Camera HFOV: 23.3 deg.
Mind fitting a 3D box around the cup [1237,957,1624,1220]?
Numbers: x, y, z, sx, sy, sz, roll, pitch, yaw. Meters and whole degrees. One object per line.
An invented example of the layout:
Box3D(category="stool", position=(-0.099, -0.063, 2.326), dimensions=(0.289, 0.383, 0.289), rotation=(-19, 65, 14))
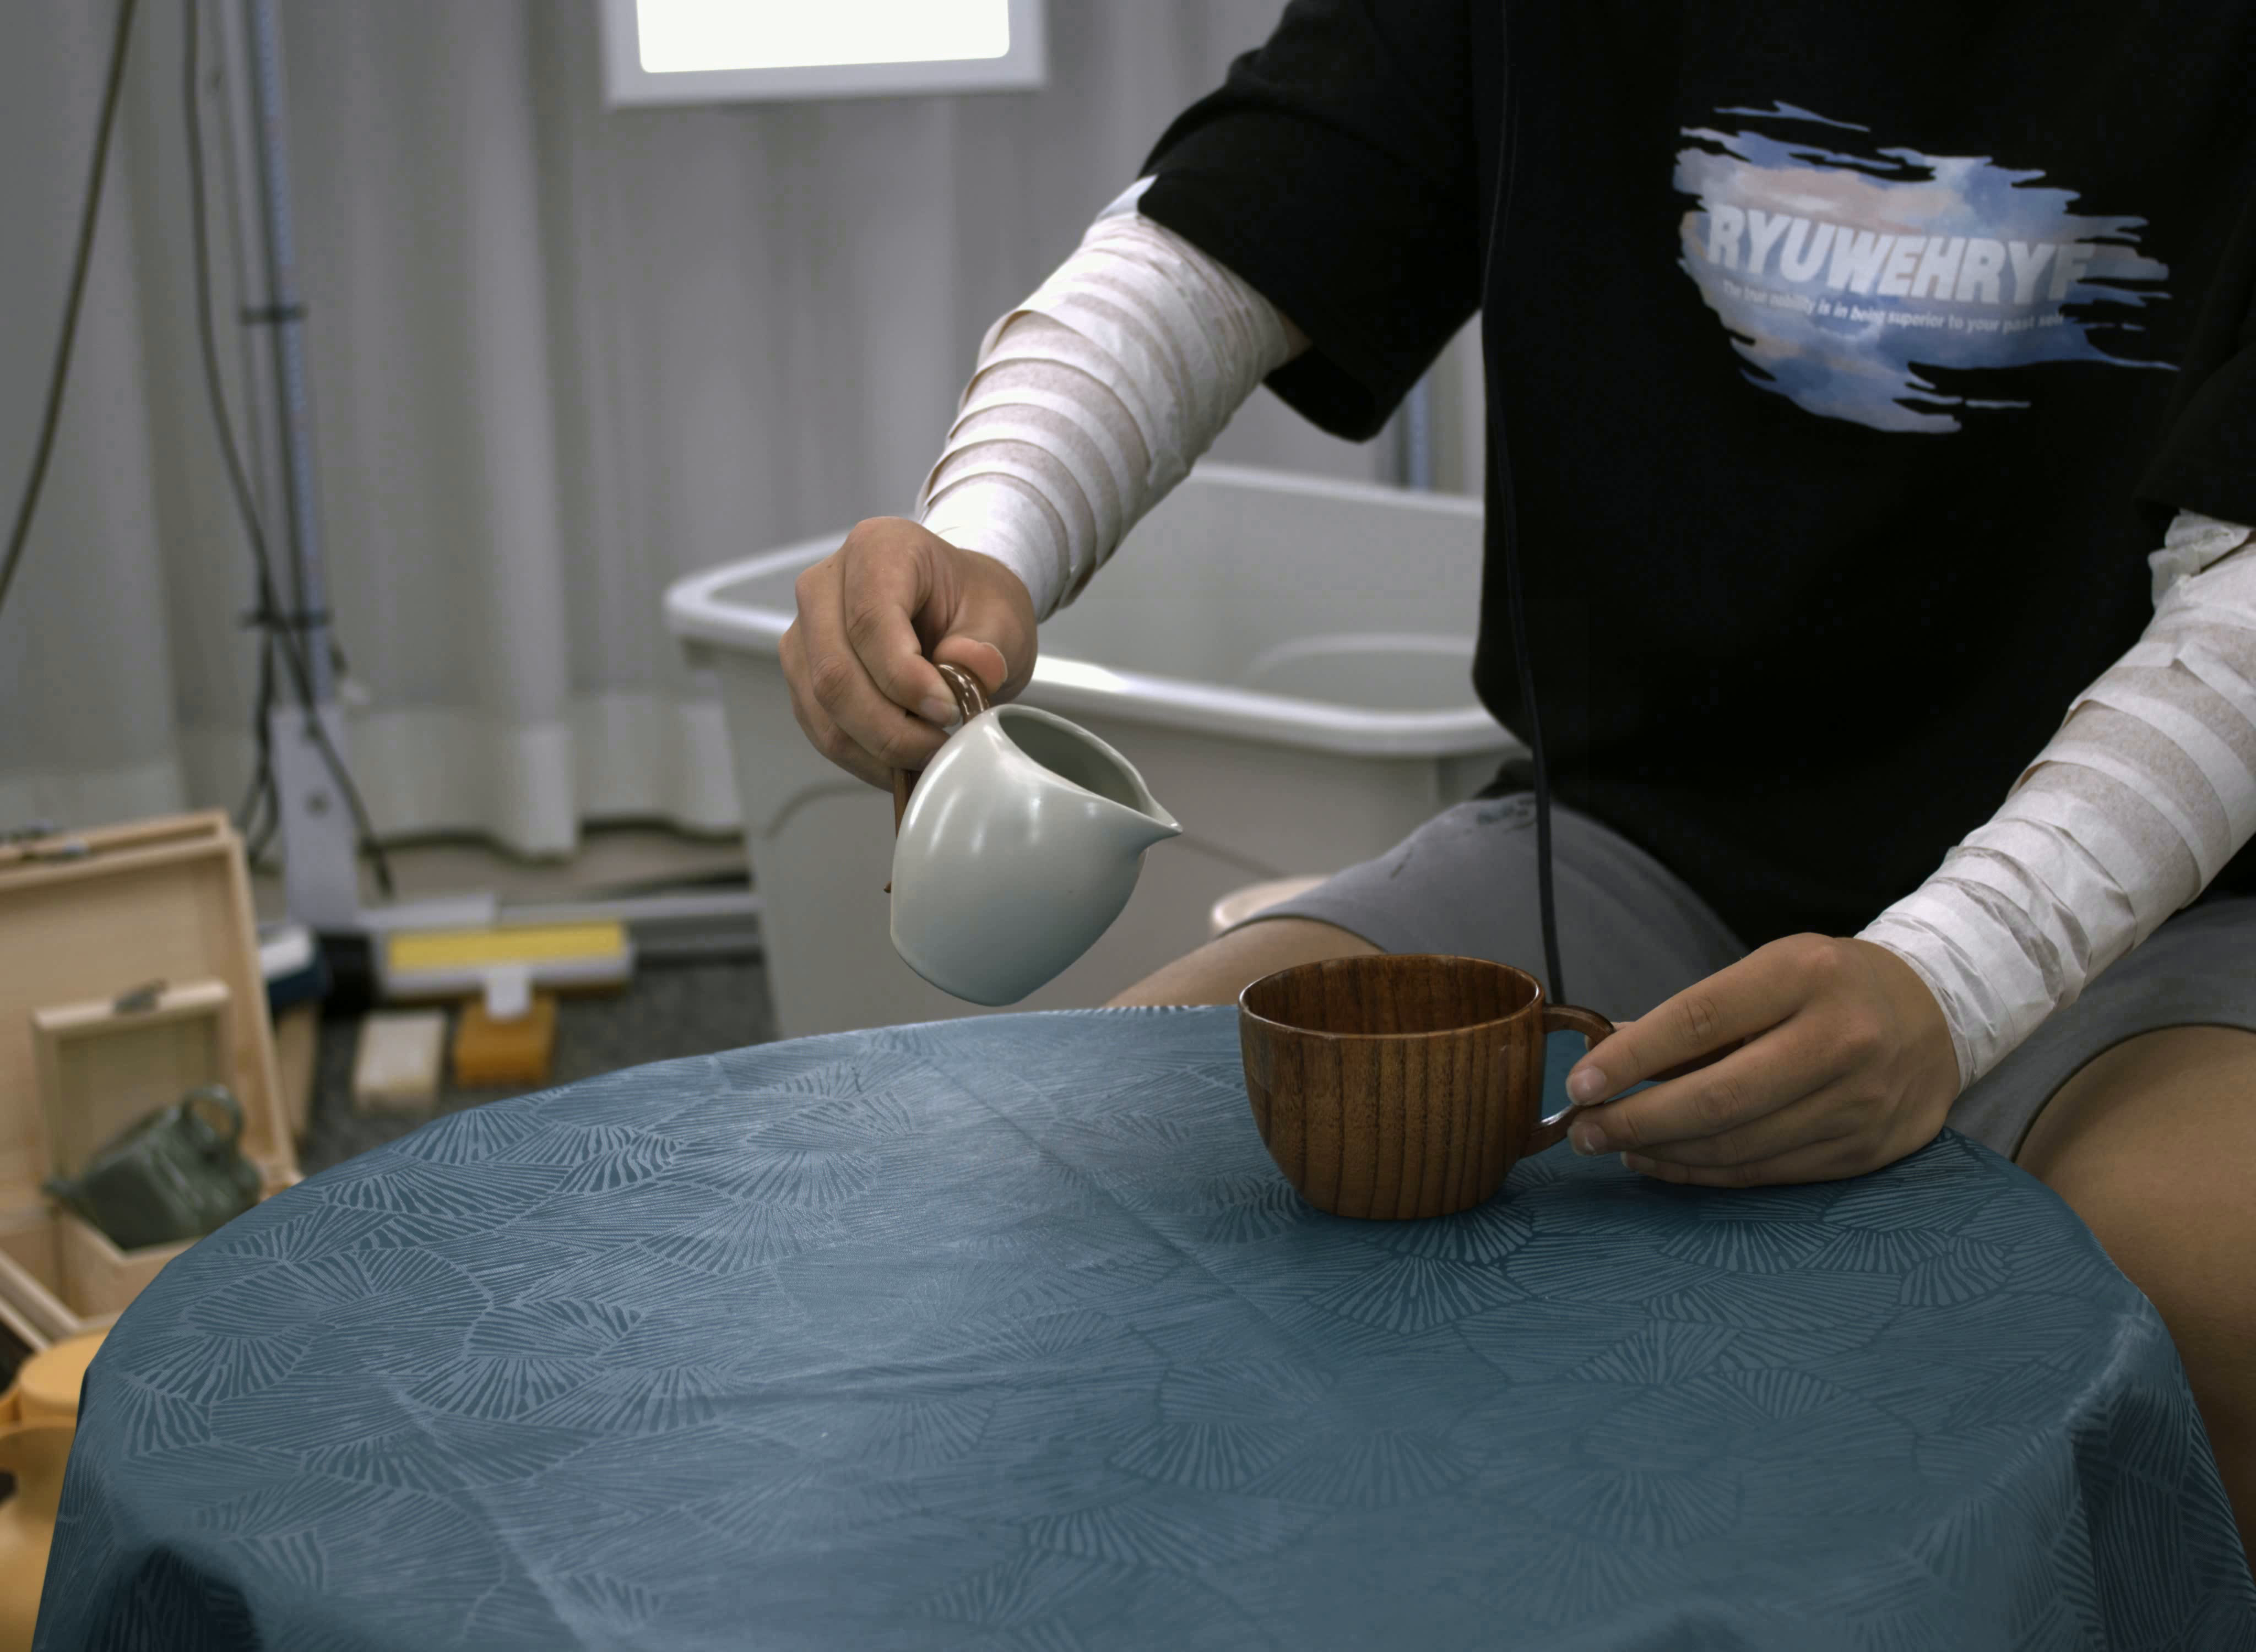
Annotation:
Box3D(category="cup", position=(0.093, 0.083, 1.690), dimensions=(0.119, 0.067, 0.096), rotation=(1, 11, 8))

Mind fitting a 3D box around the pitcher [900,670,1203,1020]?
Box3D(category="pitcher", position=(-0.034, 0.009, 1.719), dimensions=(0.075, 0.087, 0.120), rotation=(12, 28, -49))
